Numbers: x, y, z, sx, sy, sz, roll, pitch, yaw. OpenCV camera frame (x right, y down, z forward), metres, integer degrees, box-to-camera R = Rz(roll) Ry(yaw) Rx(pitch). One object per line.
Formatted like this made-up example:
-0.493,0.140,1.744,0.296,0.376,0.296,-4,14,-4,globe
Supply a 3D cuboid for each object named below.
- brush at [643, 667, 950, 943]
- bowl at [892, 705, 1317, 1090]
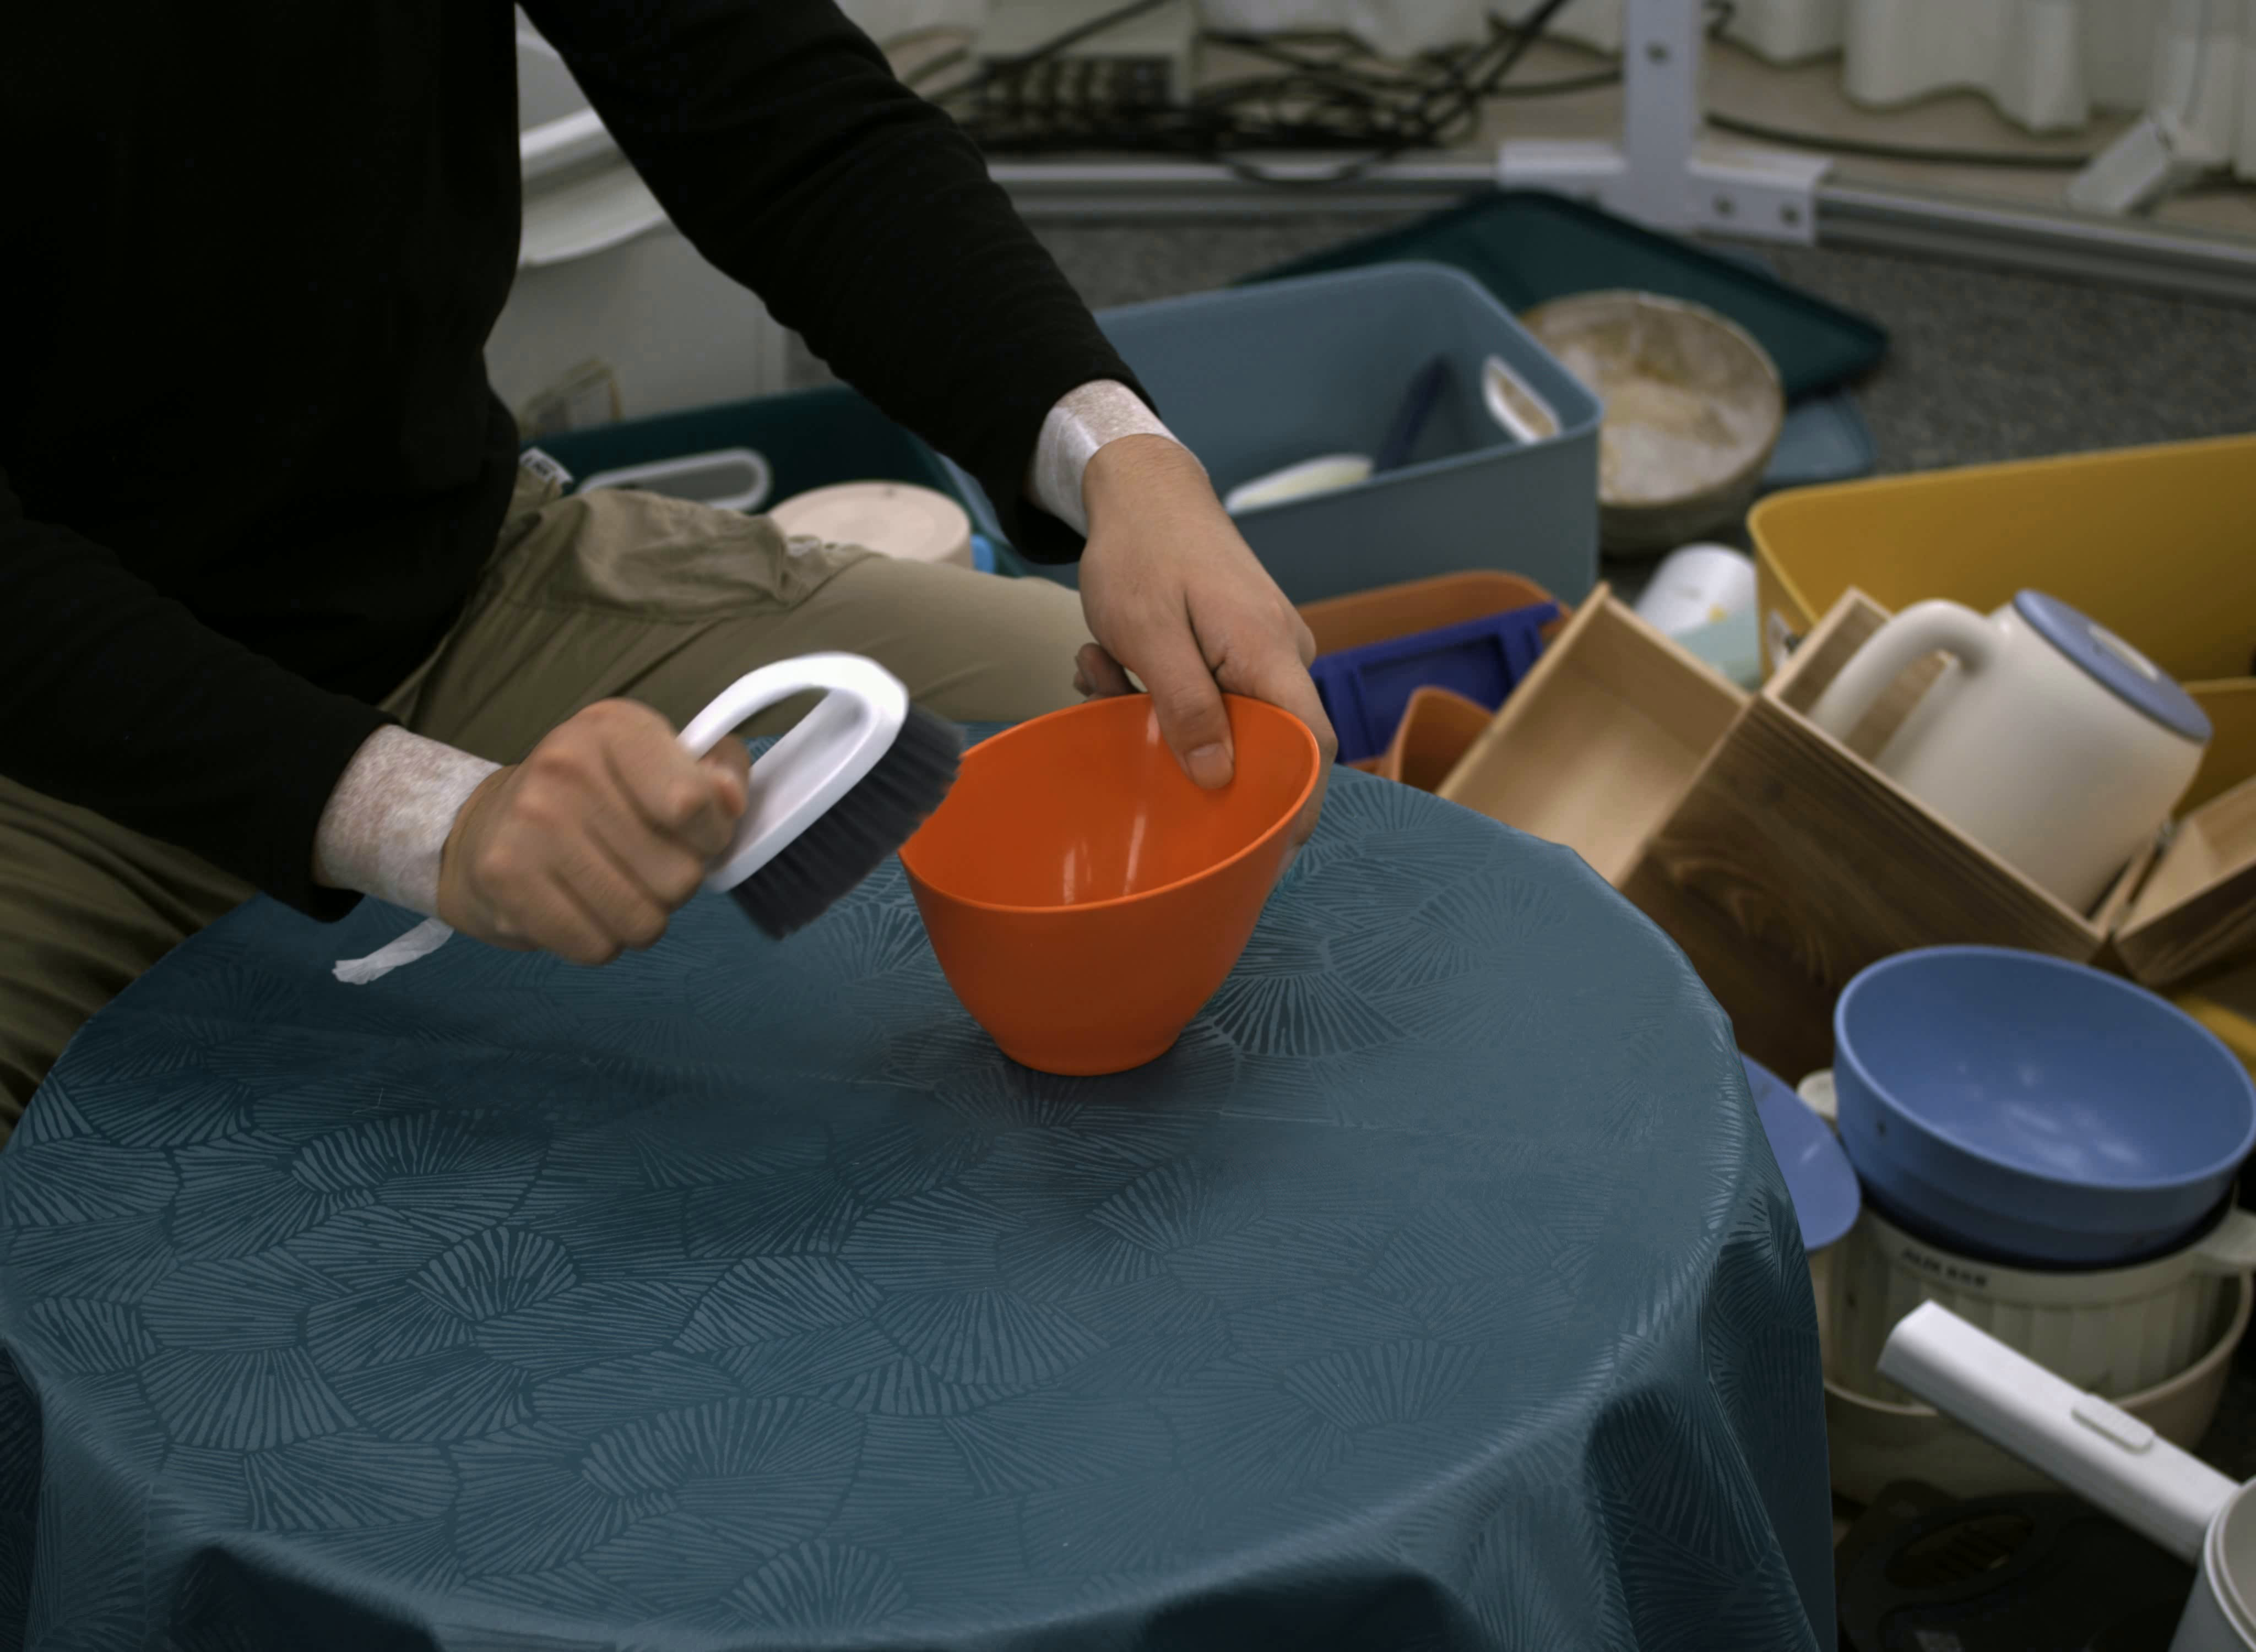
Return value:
-0.117,-0.013,1.856,0.098,0.072,0.051,-39,30,25,brush
-0.006,0.030,1.935,0.147,0.103,0.150,-2,26,2,bowl
